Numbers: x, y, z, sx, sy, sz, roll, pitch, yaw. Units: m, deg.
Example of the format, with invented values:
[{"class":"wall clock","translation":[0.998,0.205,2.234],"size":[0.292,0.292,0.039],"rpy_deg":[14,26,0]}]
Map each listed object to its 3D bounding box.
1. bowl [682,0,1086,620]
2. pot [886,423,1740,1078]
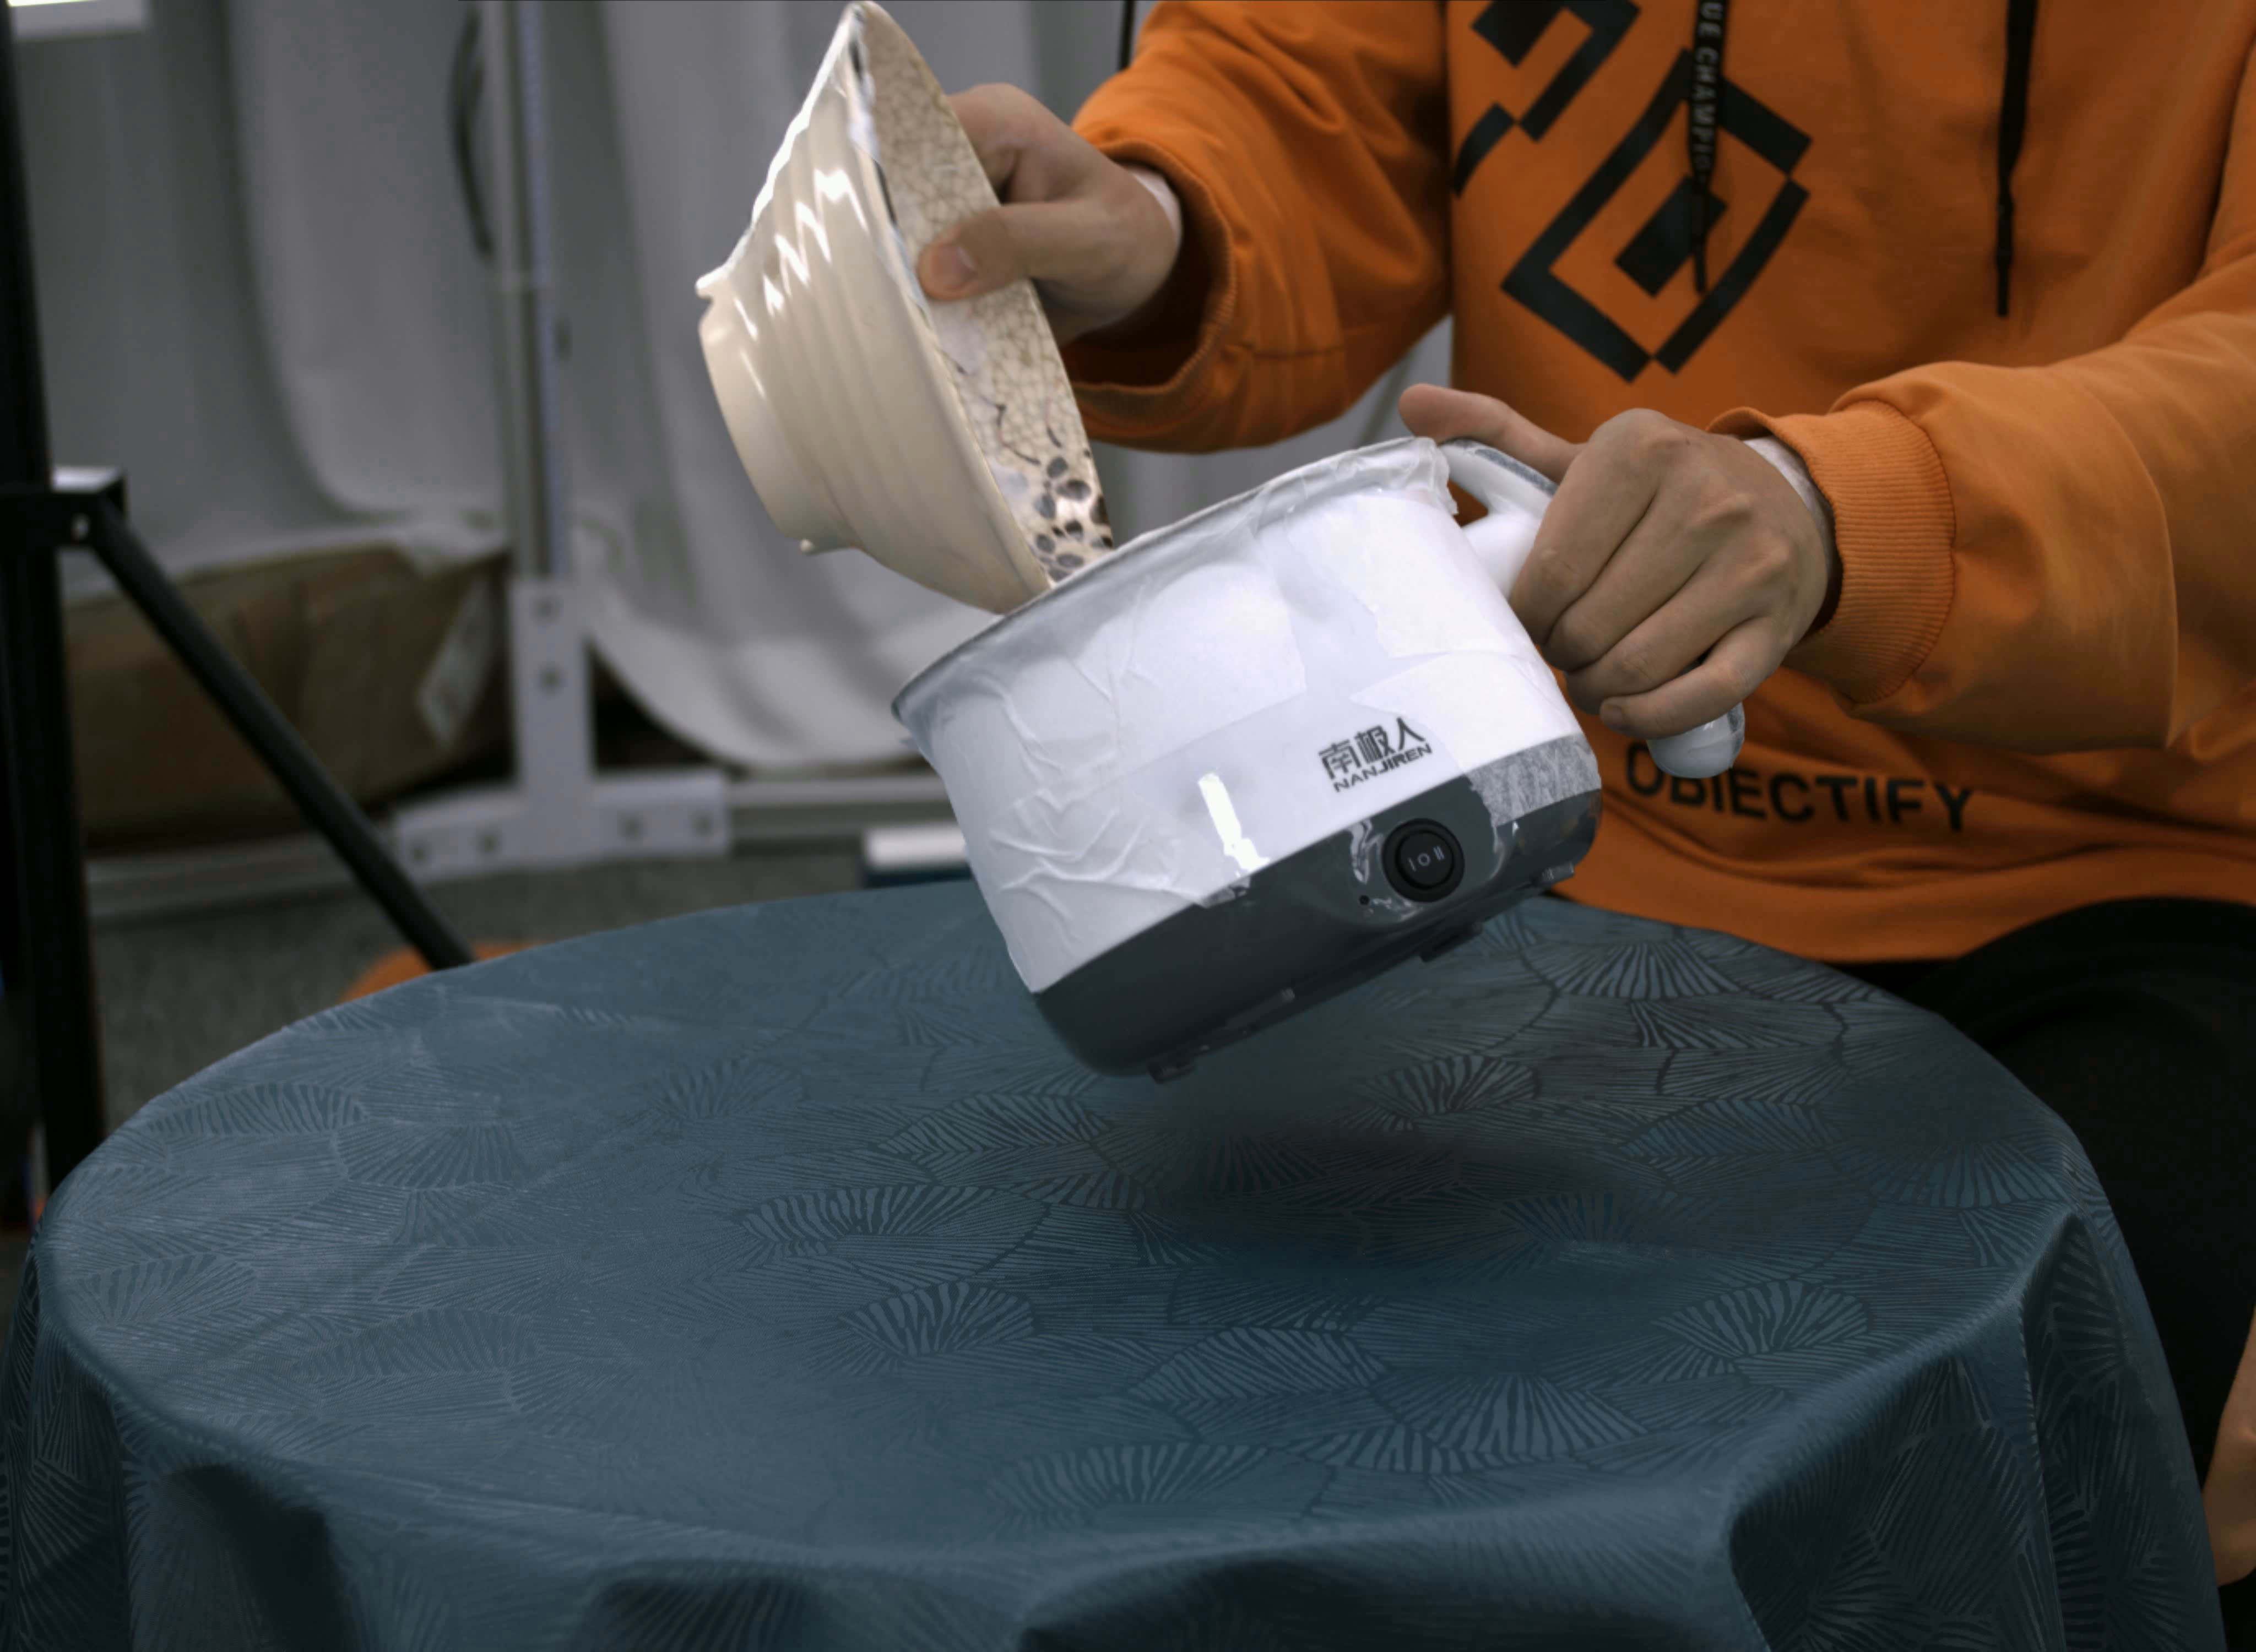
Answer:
[{"class":"bowl","translation":[-0.079,-0.136,1.560],"size":[0.078,0.203,0.205],"rpy_deg":[-20,14,5]},{"class":"pot","translation":[0.060,-0.028,1.542],"size":[0.230,0.137,0.180],"rpy_deg":[-24,-5,-20]}]
